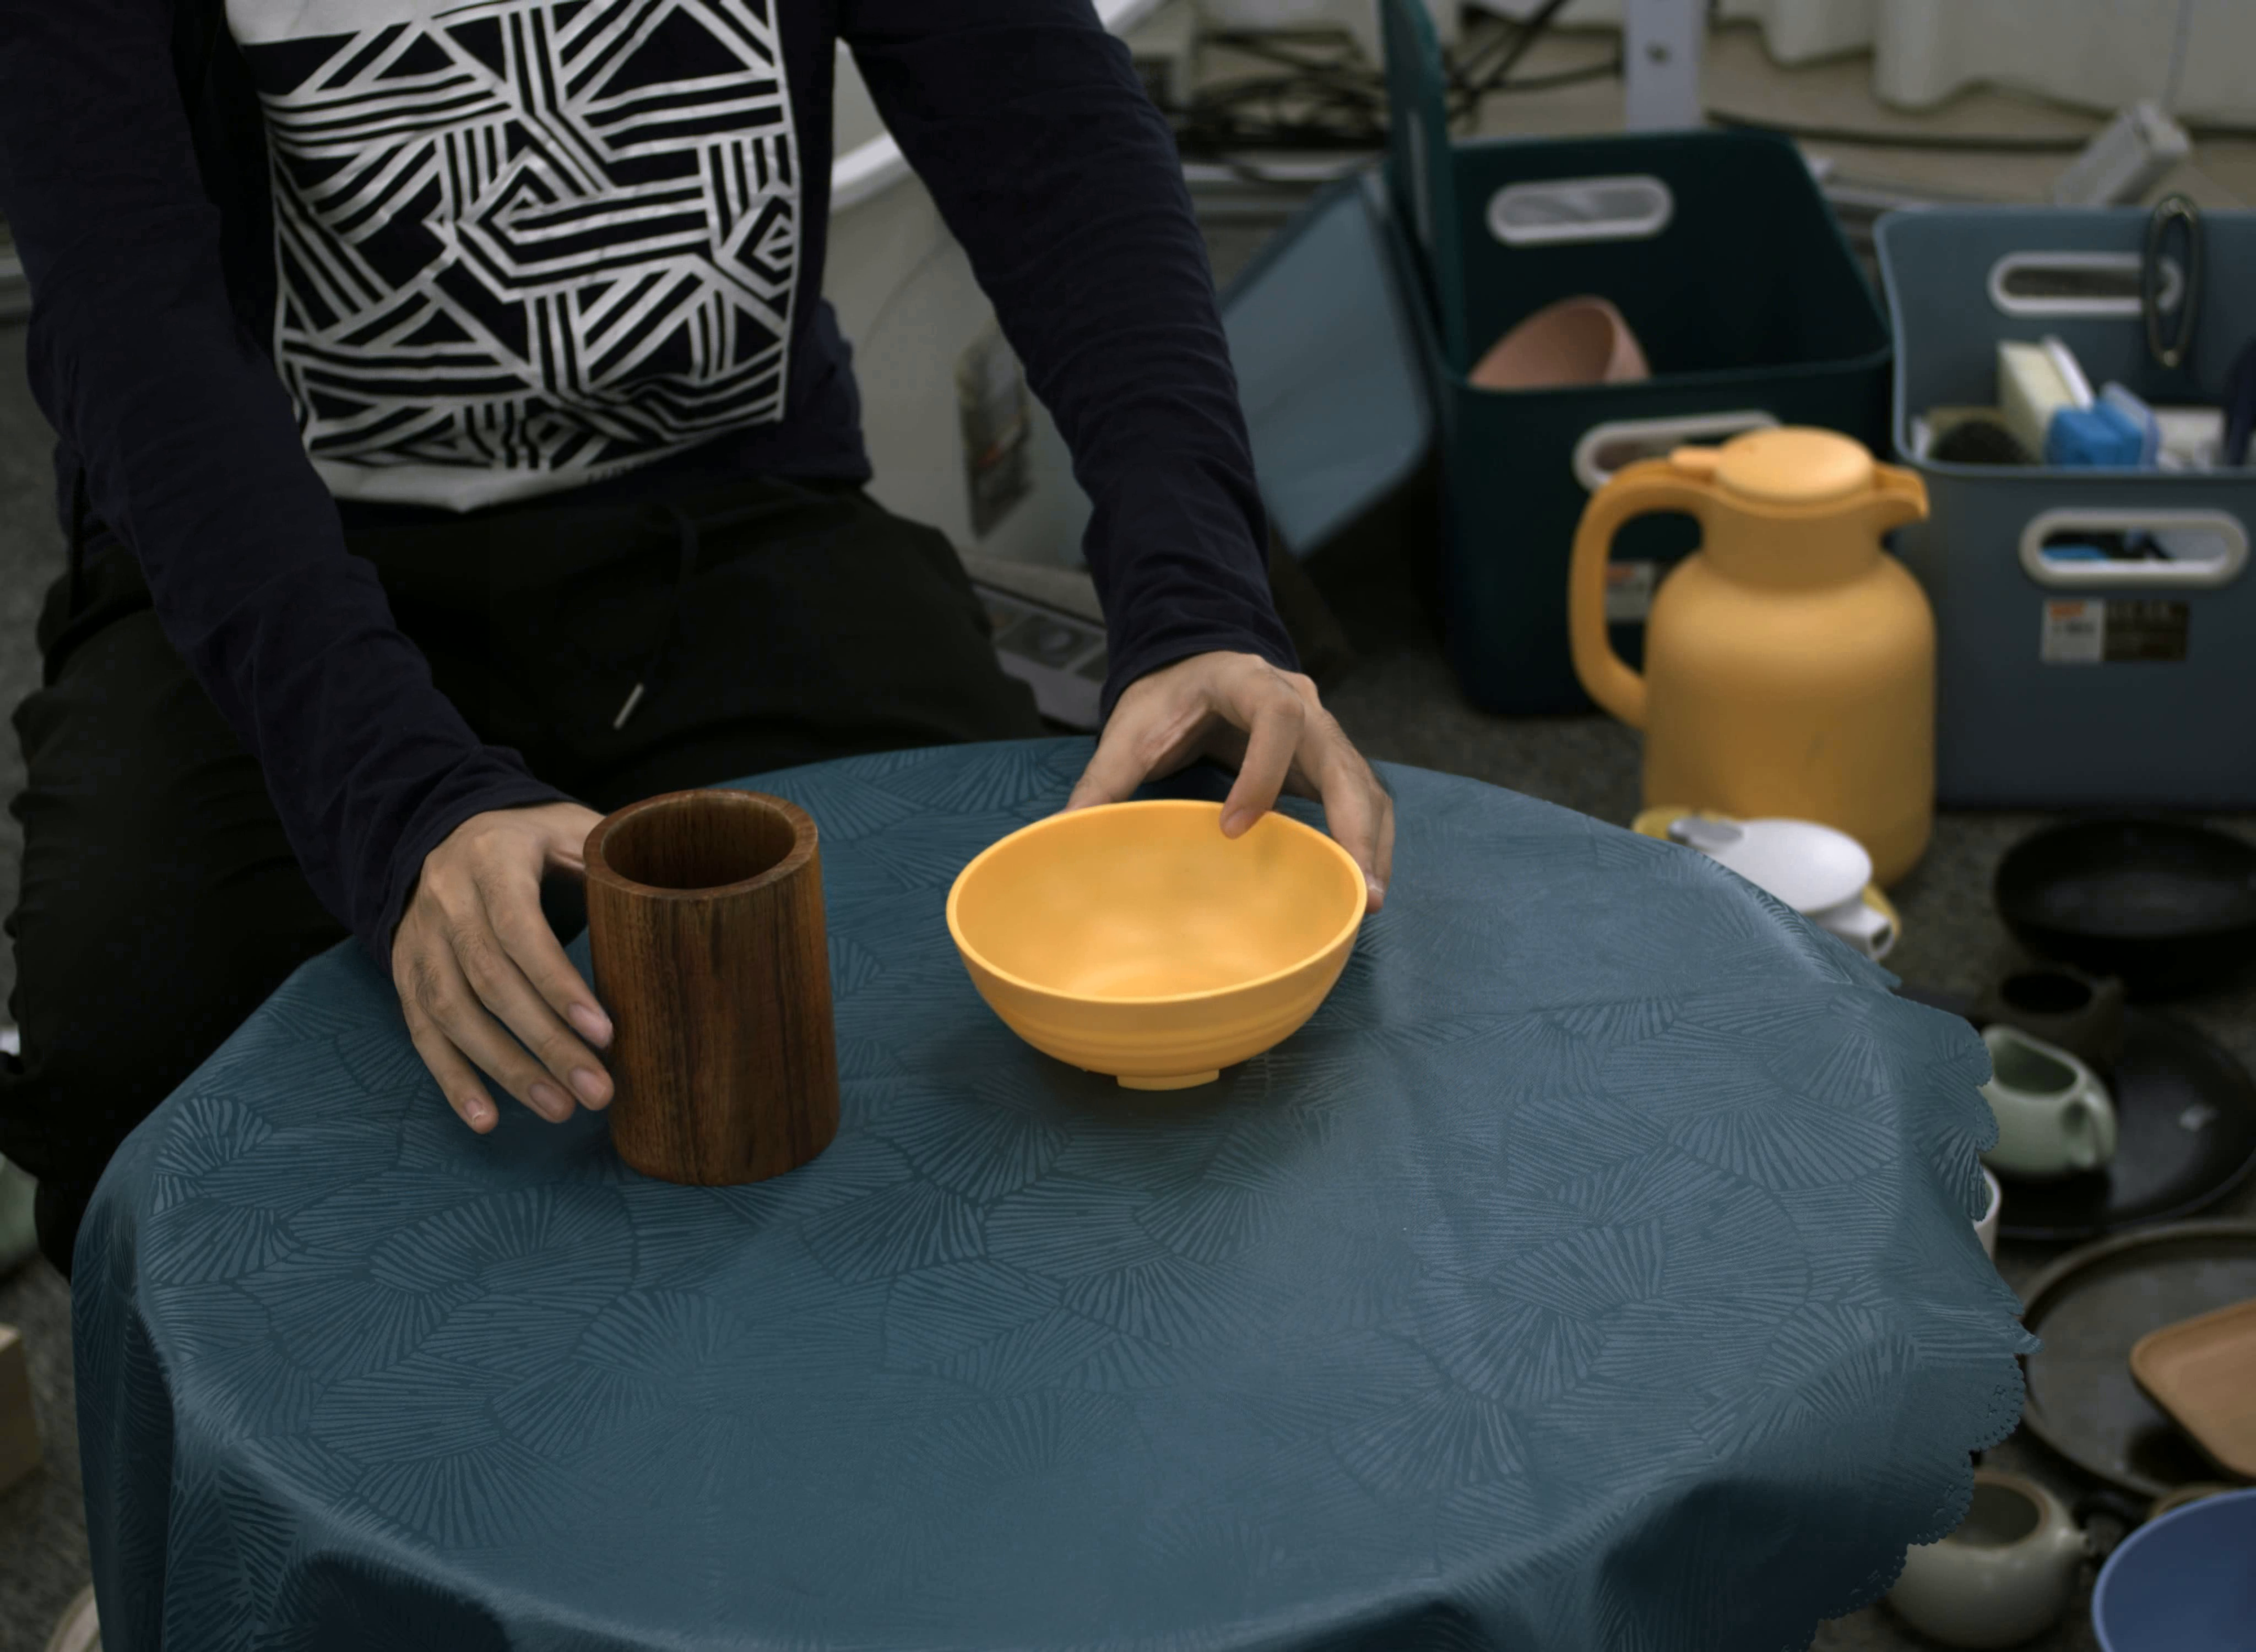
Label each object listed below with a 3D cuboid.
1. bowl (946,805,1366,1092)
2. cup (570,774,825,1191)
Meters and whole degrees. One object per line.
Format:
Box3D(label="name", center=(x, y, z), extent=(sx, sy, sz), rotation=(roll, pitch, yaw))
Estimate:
Box3D(label="bowl", center=(0.010, 0.050, 1.933), extent=(0.144, 0.059, 0.147), rotation=(-2, 26, 1))
Box3D(label="cup", center=(-0.143, 0.052, 1.882), extent=(0.087, 0.117, 0.089), rotation=(1, 25, 0))
